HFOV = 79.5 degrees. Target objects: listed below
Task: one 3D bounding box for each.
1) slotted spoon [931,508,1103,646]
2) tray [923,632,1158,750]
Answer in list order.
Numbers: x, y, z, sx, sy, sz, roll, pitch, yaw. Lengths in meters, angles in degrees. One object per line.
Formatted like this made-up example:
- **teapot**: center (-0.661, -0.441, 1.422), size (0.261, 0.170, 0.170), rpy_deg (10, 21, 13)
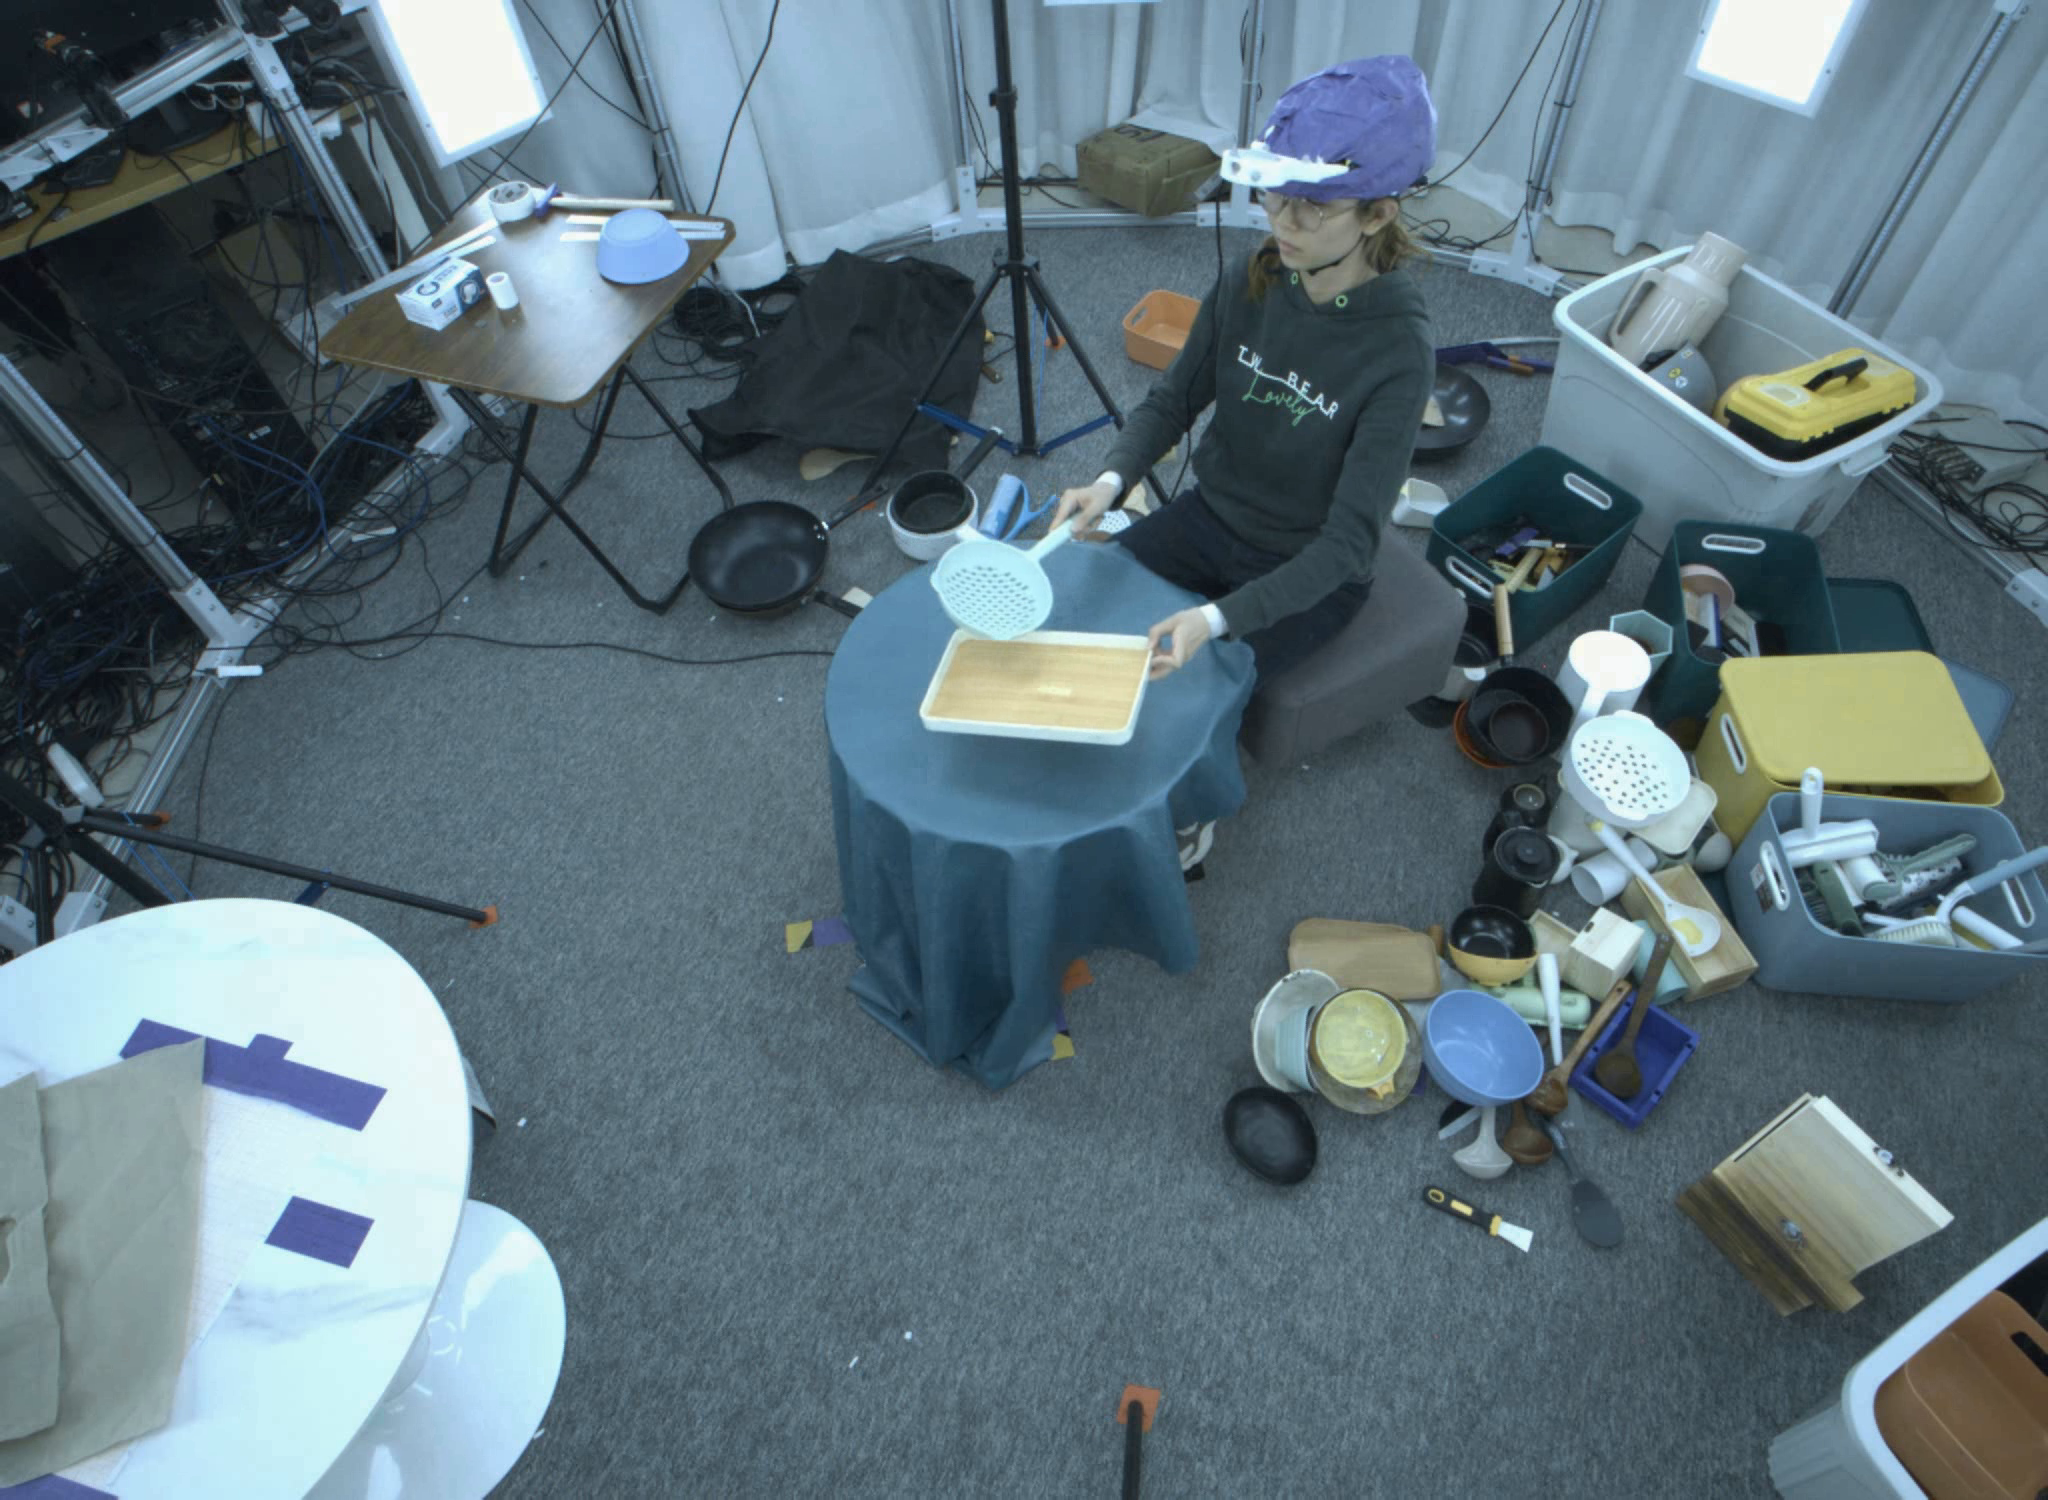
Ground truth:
- **slotted spoon**: center (0.013, -0.273, 1.786), size (0.169, 0.075, 0.361), rpy_deg (42, 62, 4)
- **tray**: center (0.025, -0.087, 1.718), size (0.297, 0.028, 0.191), rpy_deg (6, 49, 15)
